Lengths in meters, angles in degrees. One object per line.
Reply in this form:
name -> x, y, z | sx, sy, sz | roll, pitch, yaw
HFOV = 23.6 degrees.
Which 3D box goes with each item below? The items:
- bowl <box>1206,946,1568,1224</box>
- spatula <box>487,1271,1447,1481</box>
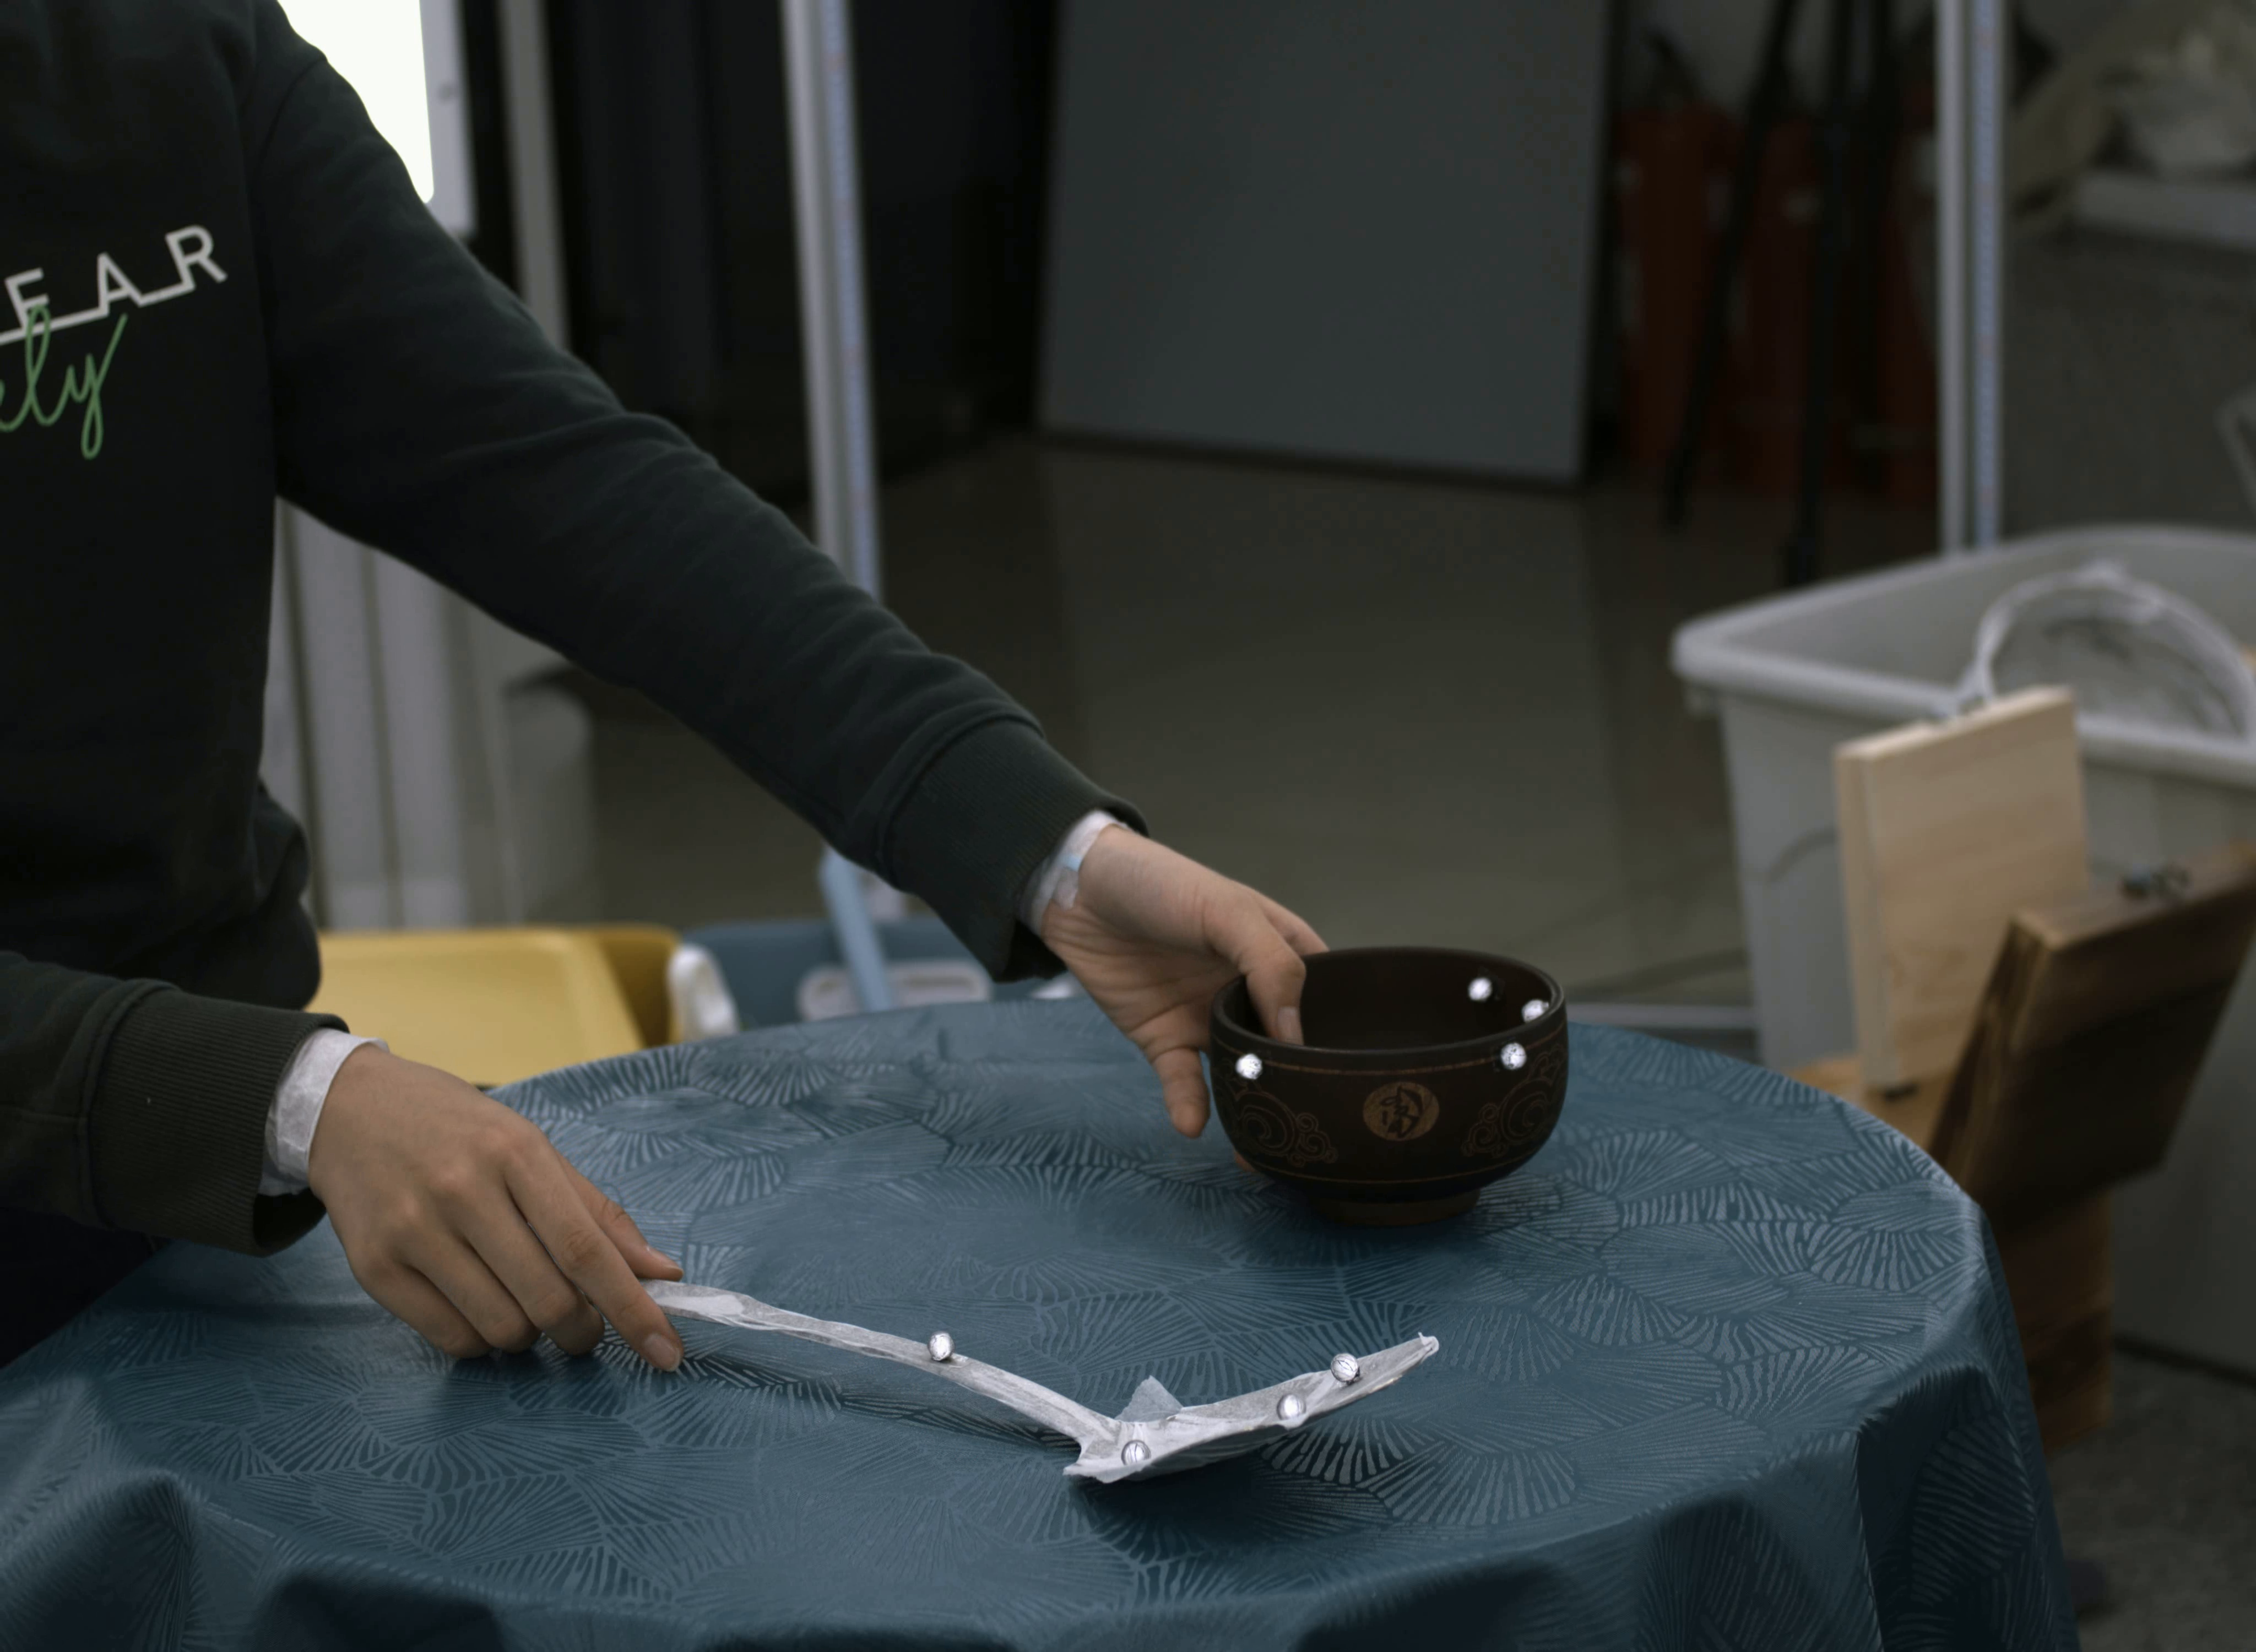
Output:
bowl -> 0.084, 0.087, 1.734 | 0.116, 0.070, 0.118 | -4, 13, 0
spatula -> -0.068, 0.150, 1.591 | 0.368, 0.045, 0.097 | 8, 19, 39
